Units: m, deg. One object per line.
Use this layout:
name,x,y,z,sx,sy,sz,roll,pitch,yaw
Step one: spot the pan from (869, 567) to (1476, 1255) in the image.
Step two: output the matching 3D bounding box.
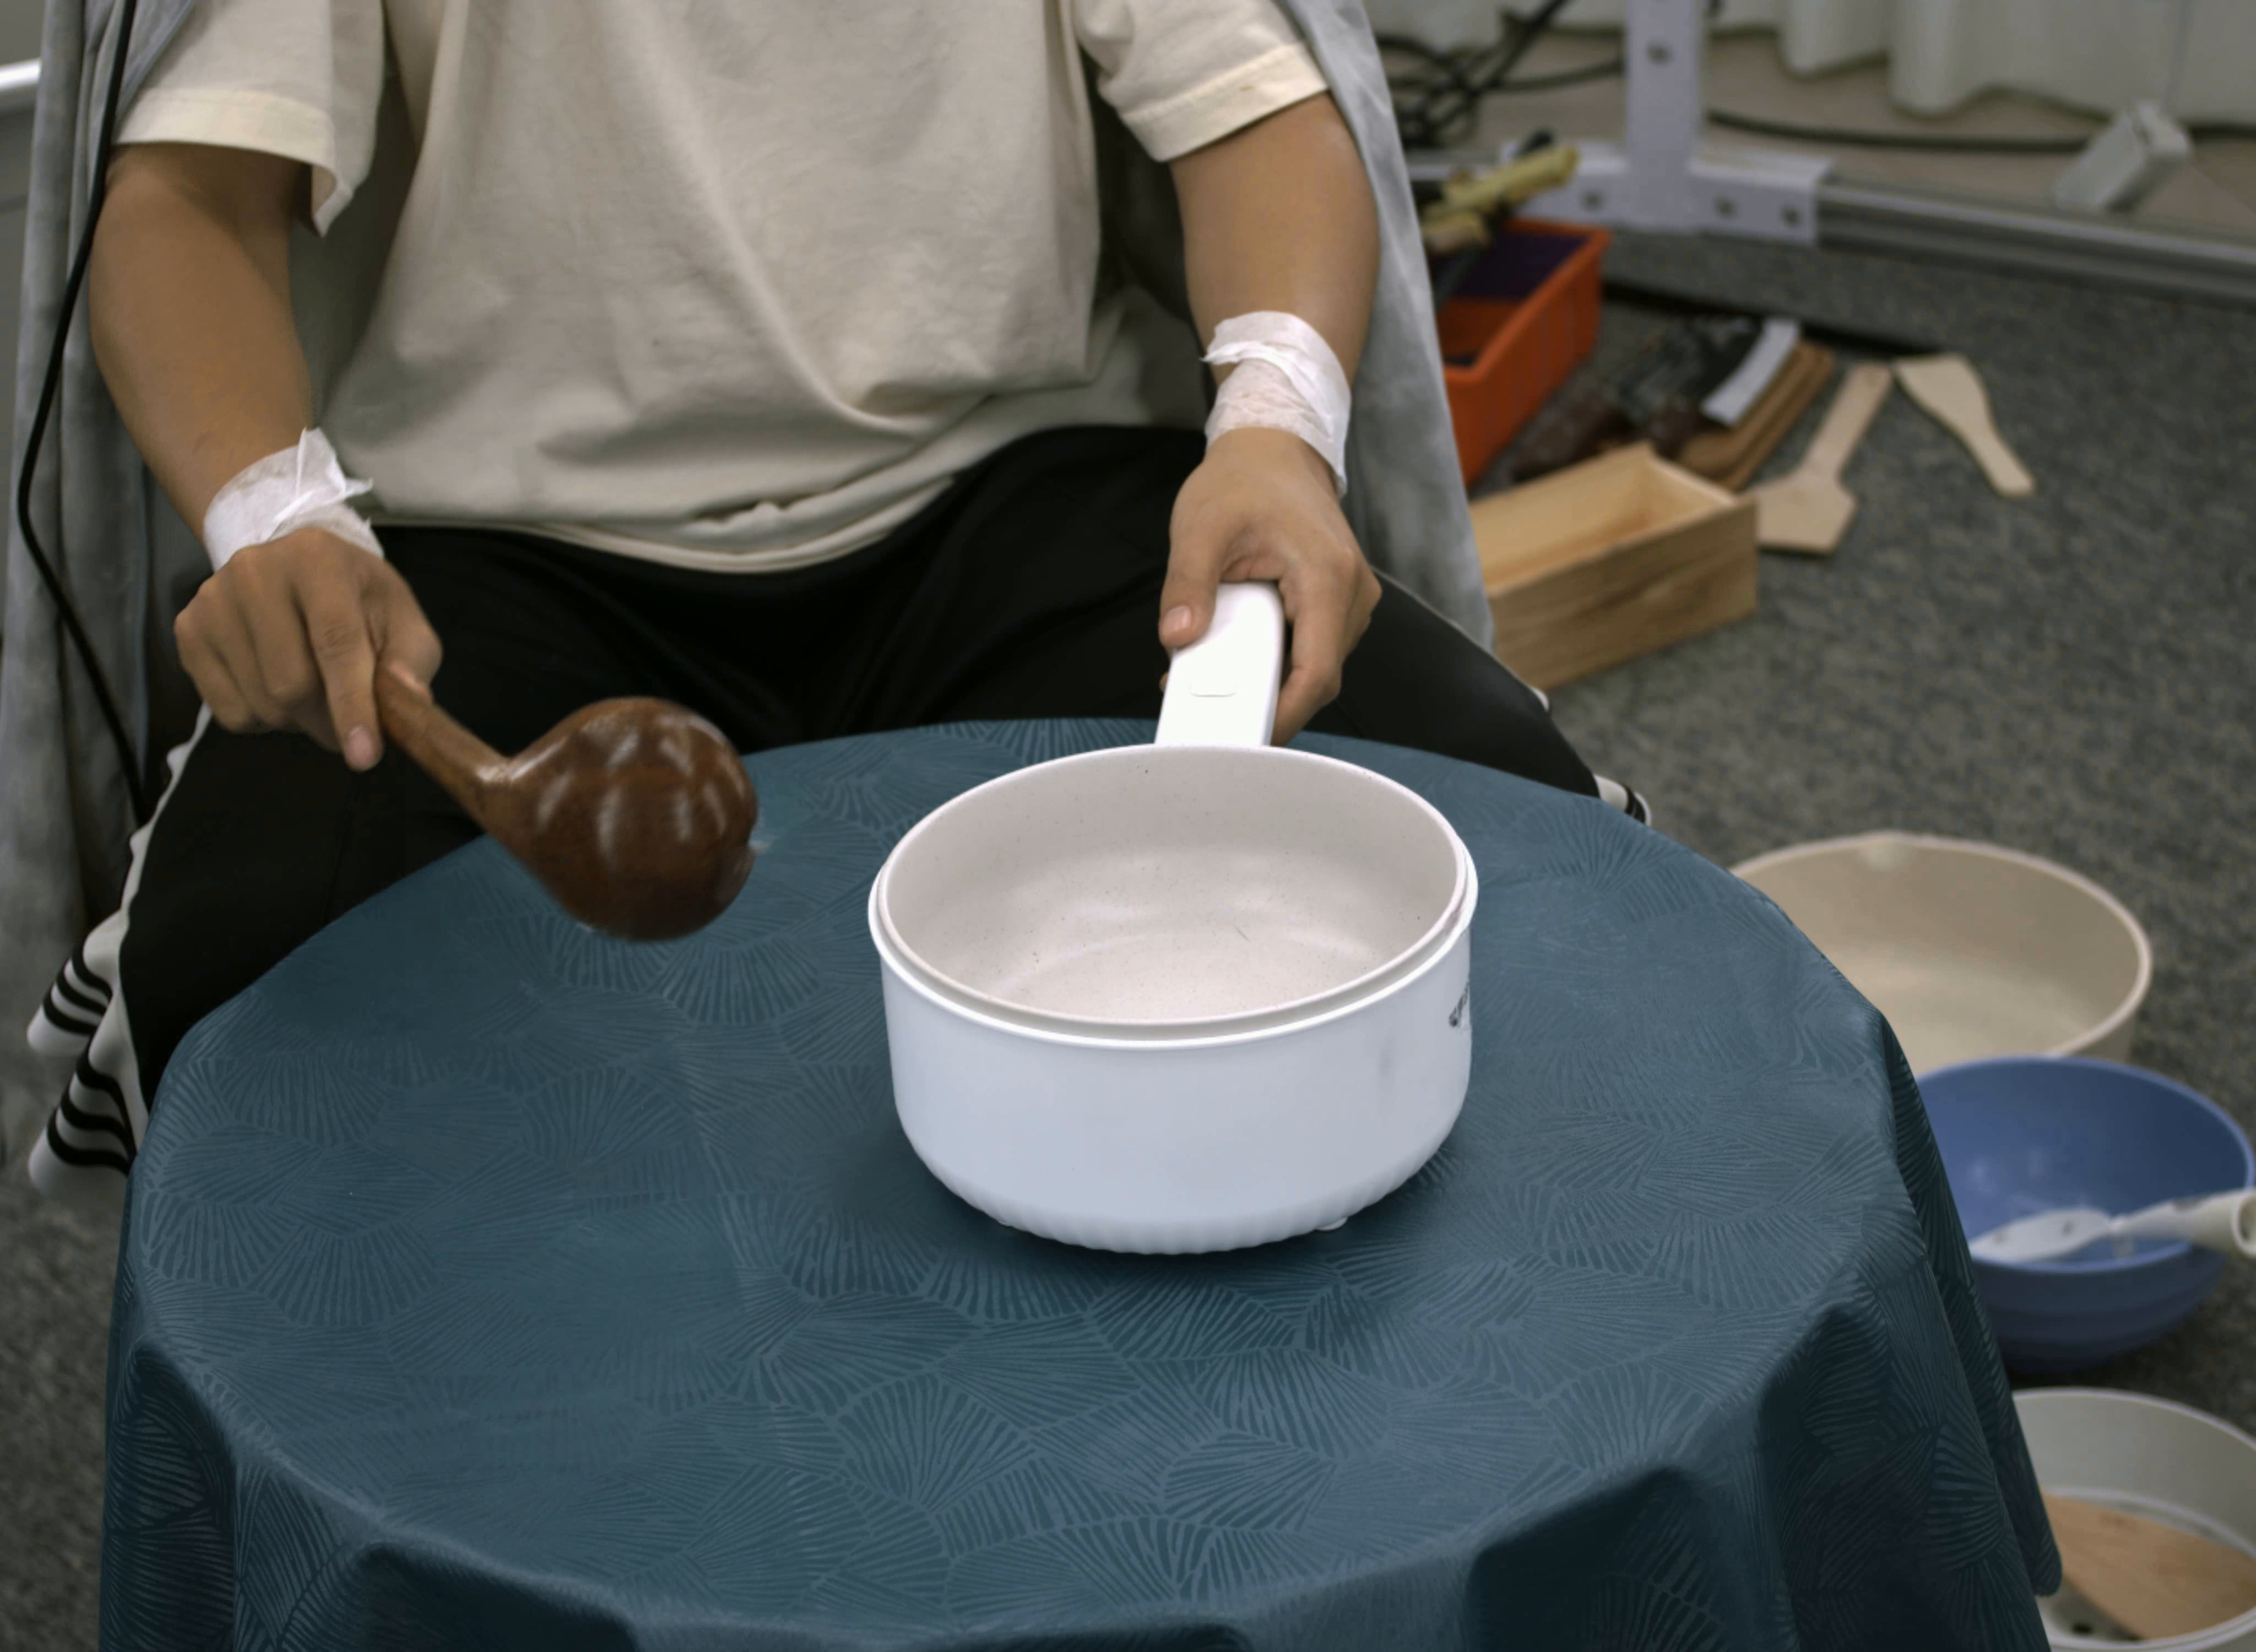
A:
pan,0.026,0.026,1.937,0.200,0.101,0.360,0,26,7

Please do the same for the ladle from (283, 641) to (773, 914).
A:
ladle,-0.204,-0.032,1.901,0.076,0.082,0.274,5,8,-28
